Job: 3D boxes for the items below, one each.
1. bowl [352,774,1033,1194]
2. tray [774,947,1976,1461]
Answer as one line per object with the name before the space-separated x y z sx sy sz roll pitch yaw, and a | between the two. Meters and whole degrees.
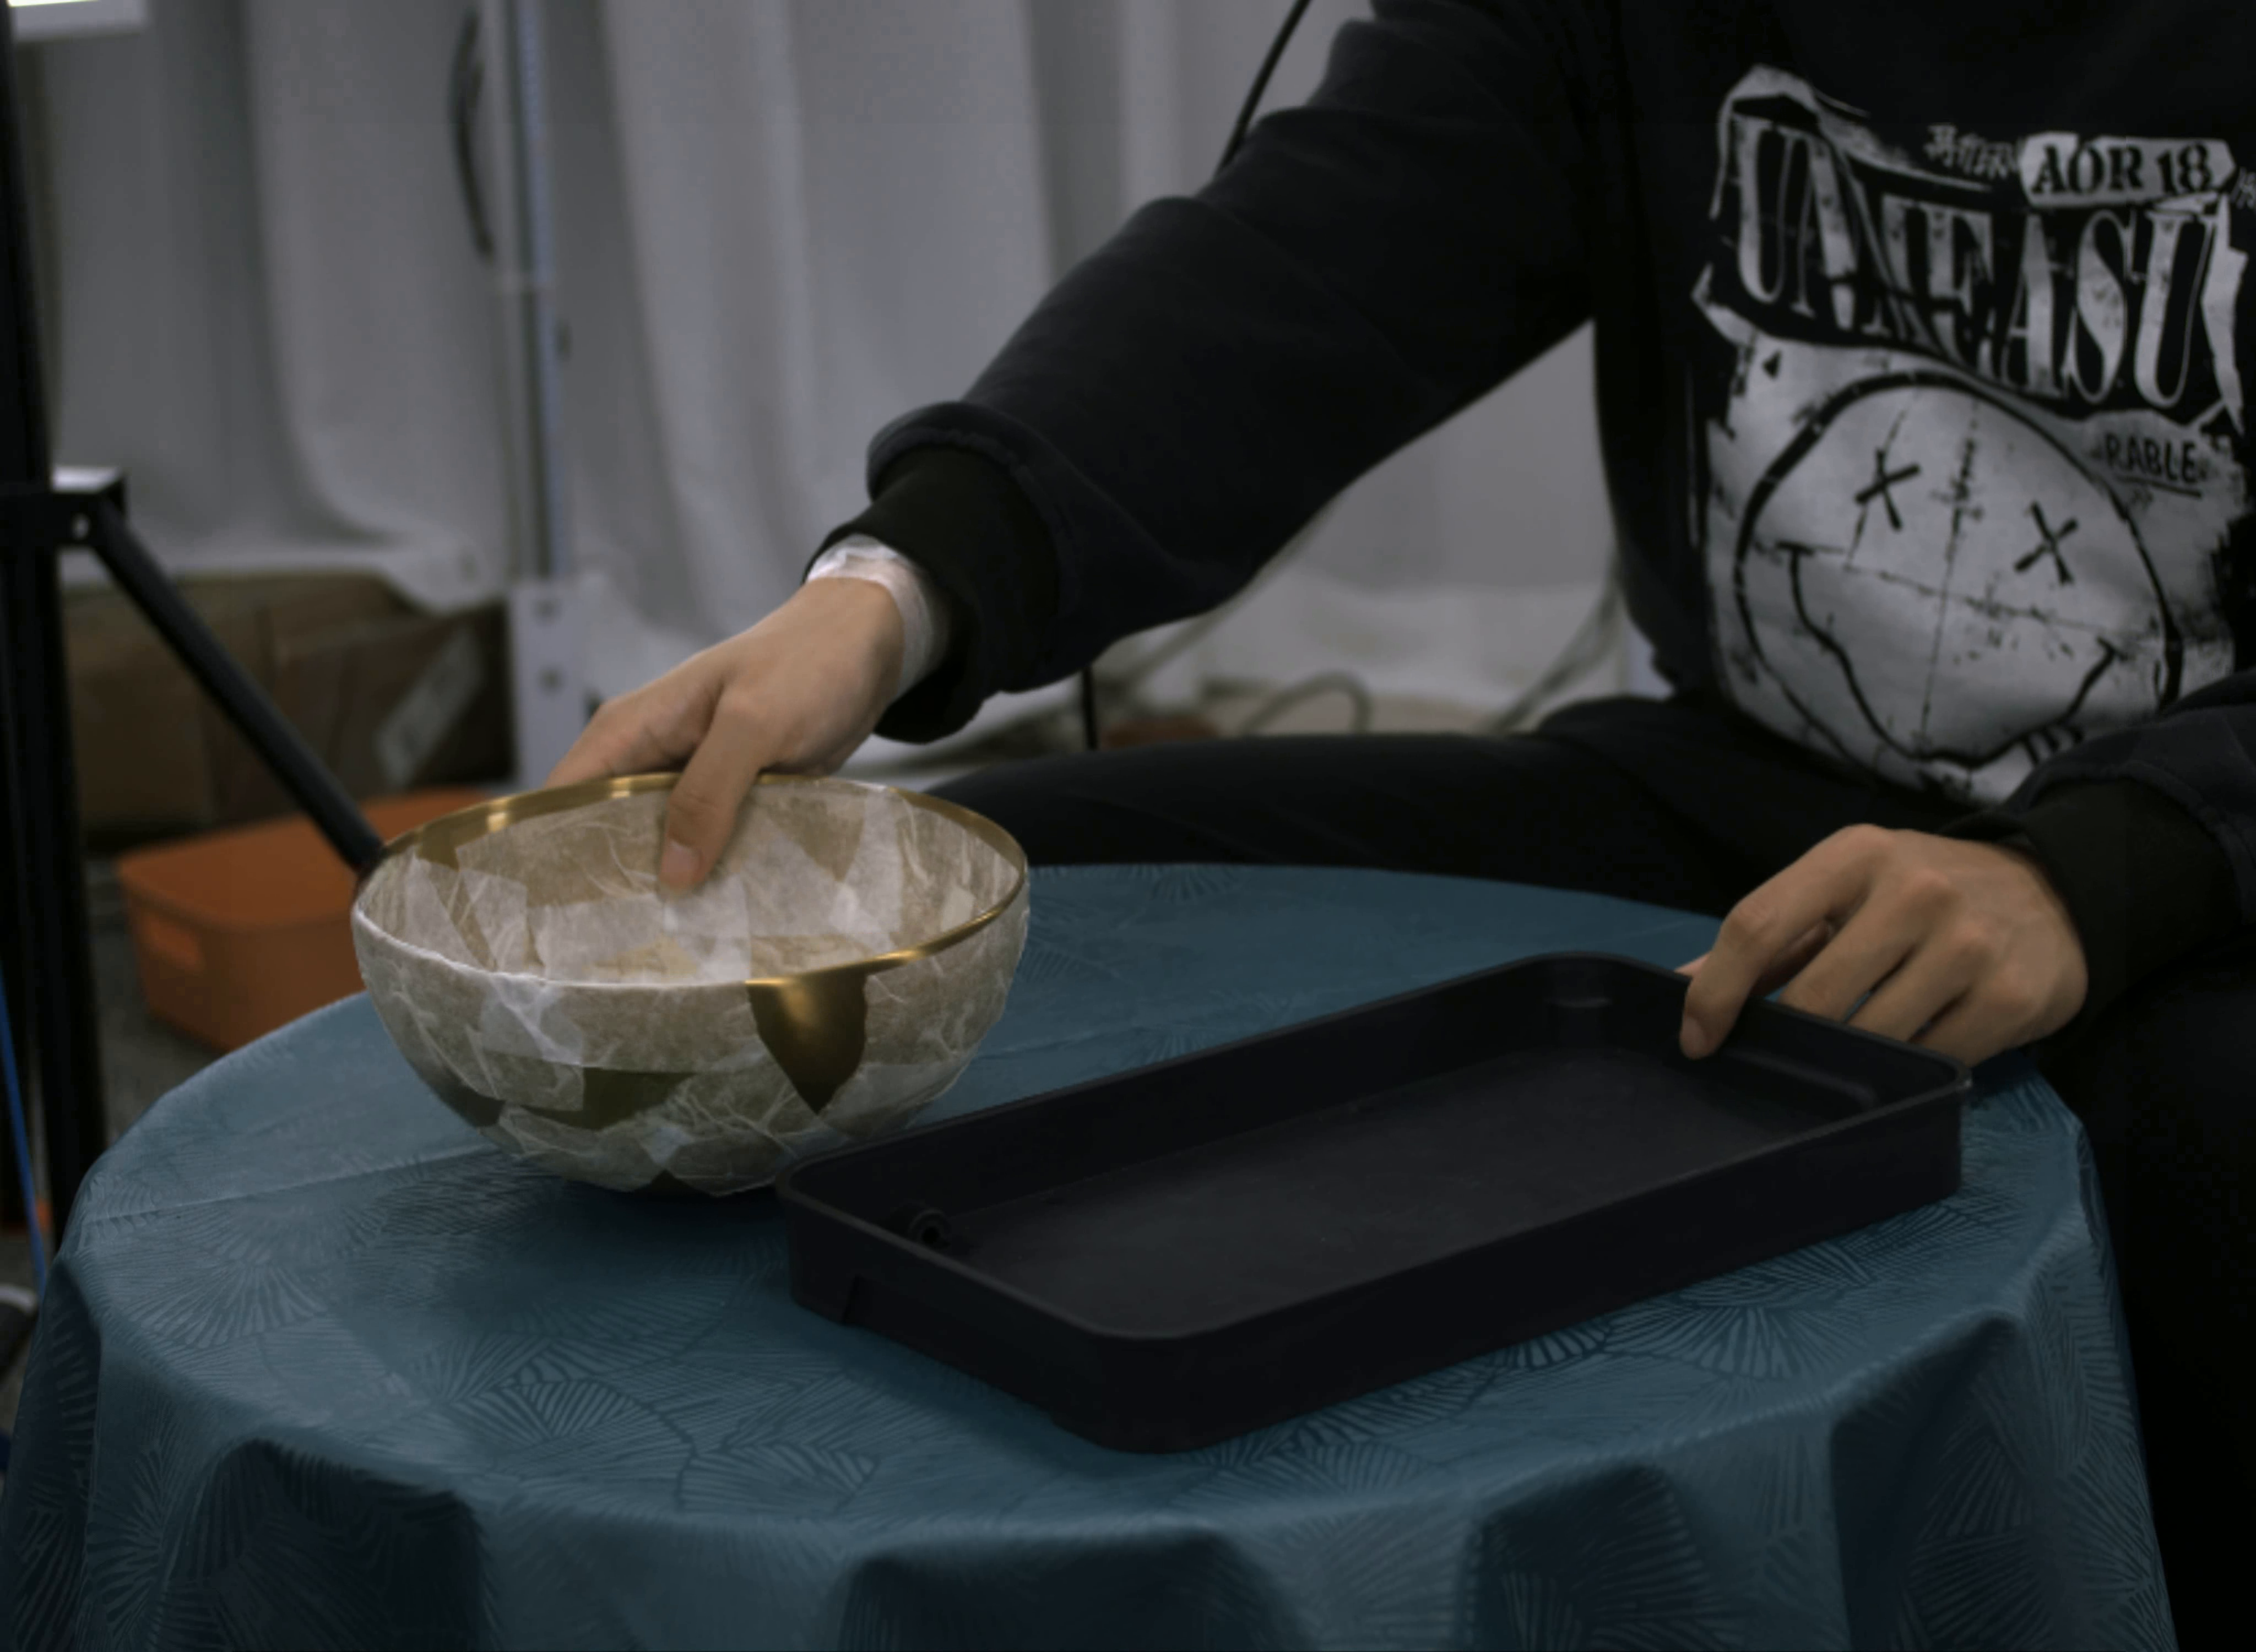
bowl | -0.124 0.055 1.594 0.213 0.094 0.216 -3 17 -1
tray | 0.073 0.101 1.506 0.311 0.037 0.188 -14 20 -33
